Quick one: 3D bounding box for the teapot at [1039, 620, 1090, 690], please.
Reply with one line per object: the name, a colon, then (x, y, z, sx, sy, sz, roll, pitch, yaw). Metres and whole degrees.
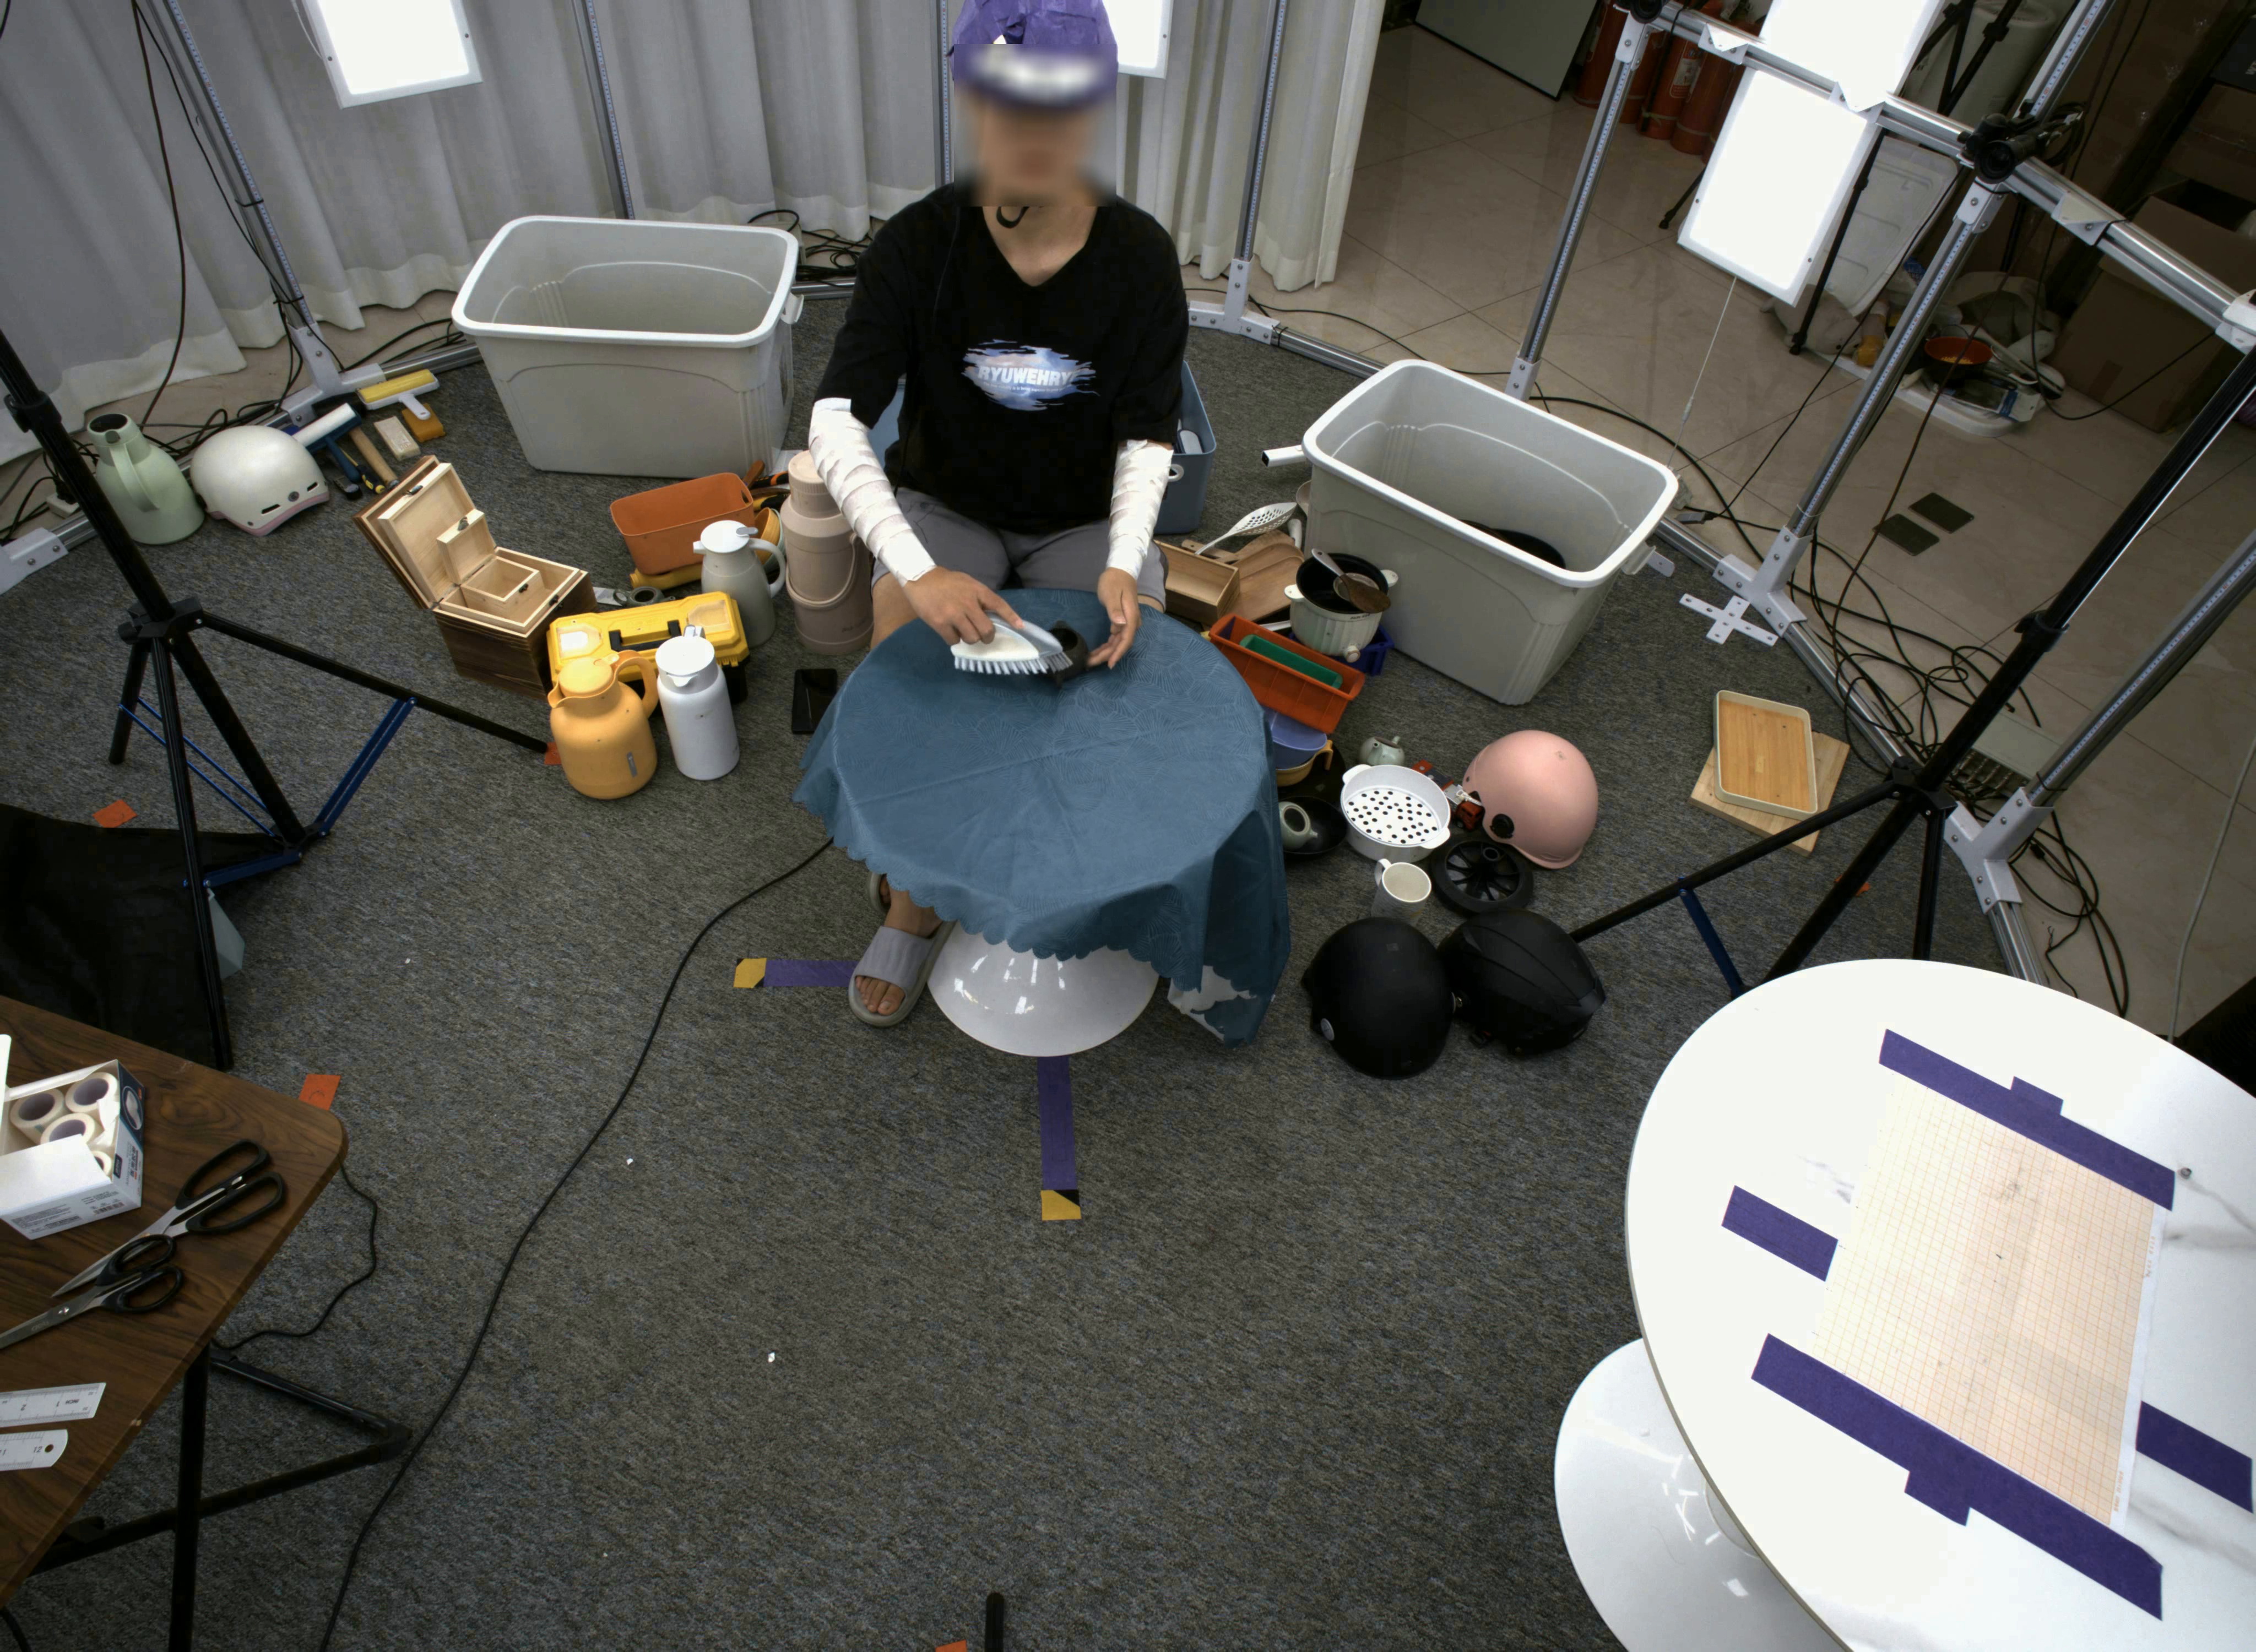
teapot: (-0.096, -0.242, 1.843, 0.083, 0.052, 0.117, 2, 48, -1)

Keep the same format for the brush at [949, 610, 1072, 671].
brush: (-0.168, -0.263, 1.791, 0.176, 0.092, 0.062, 11, 63, 23)
